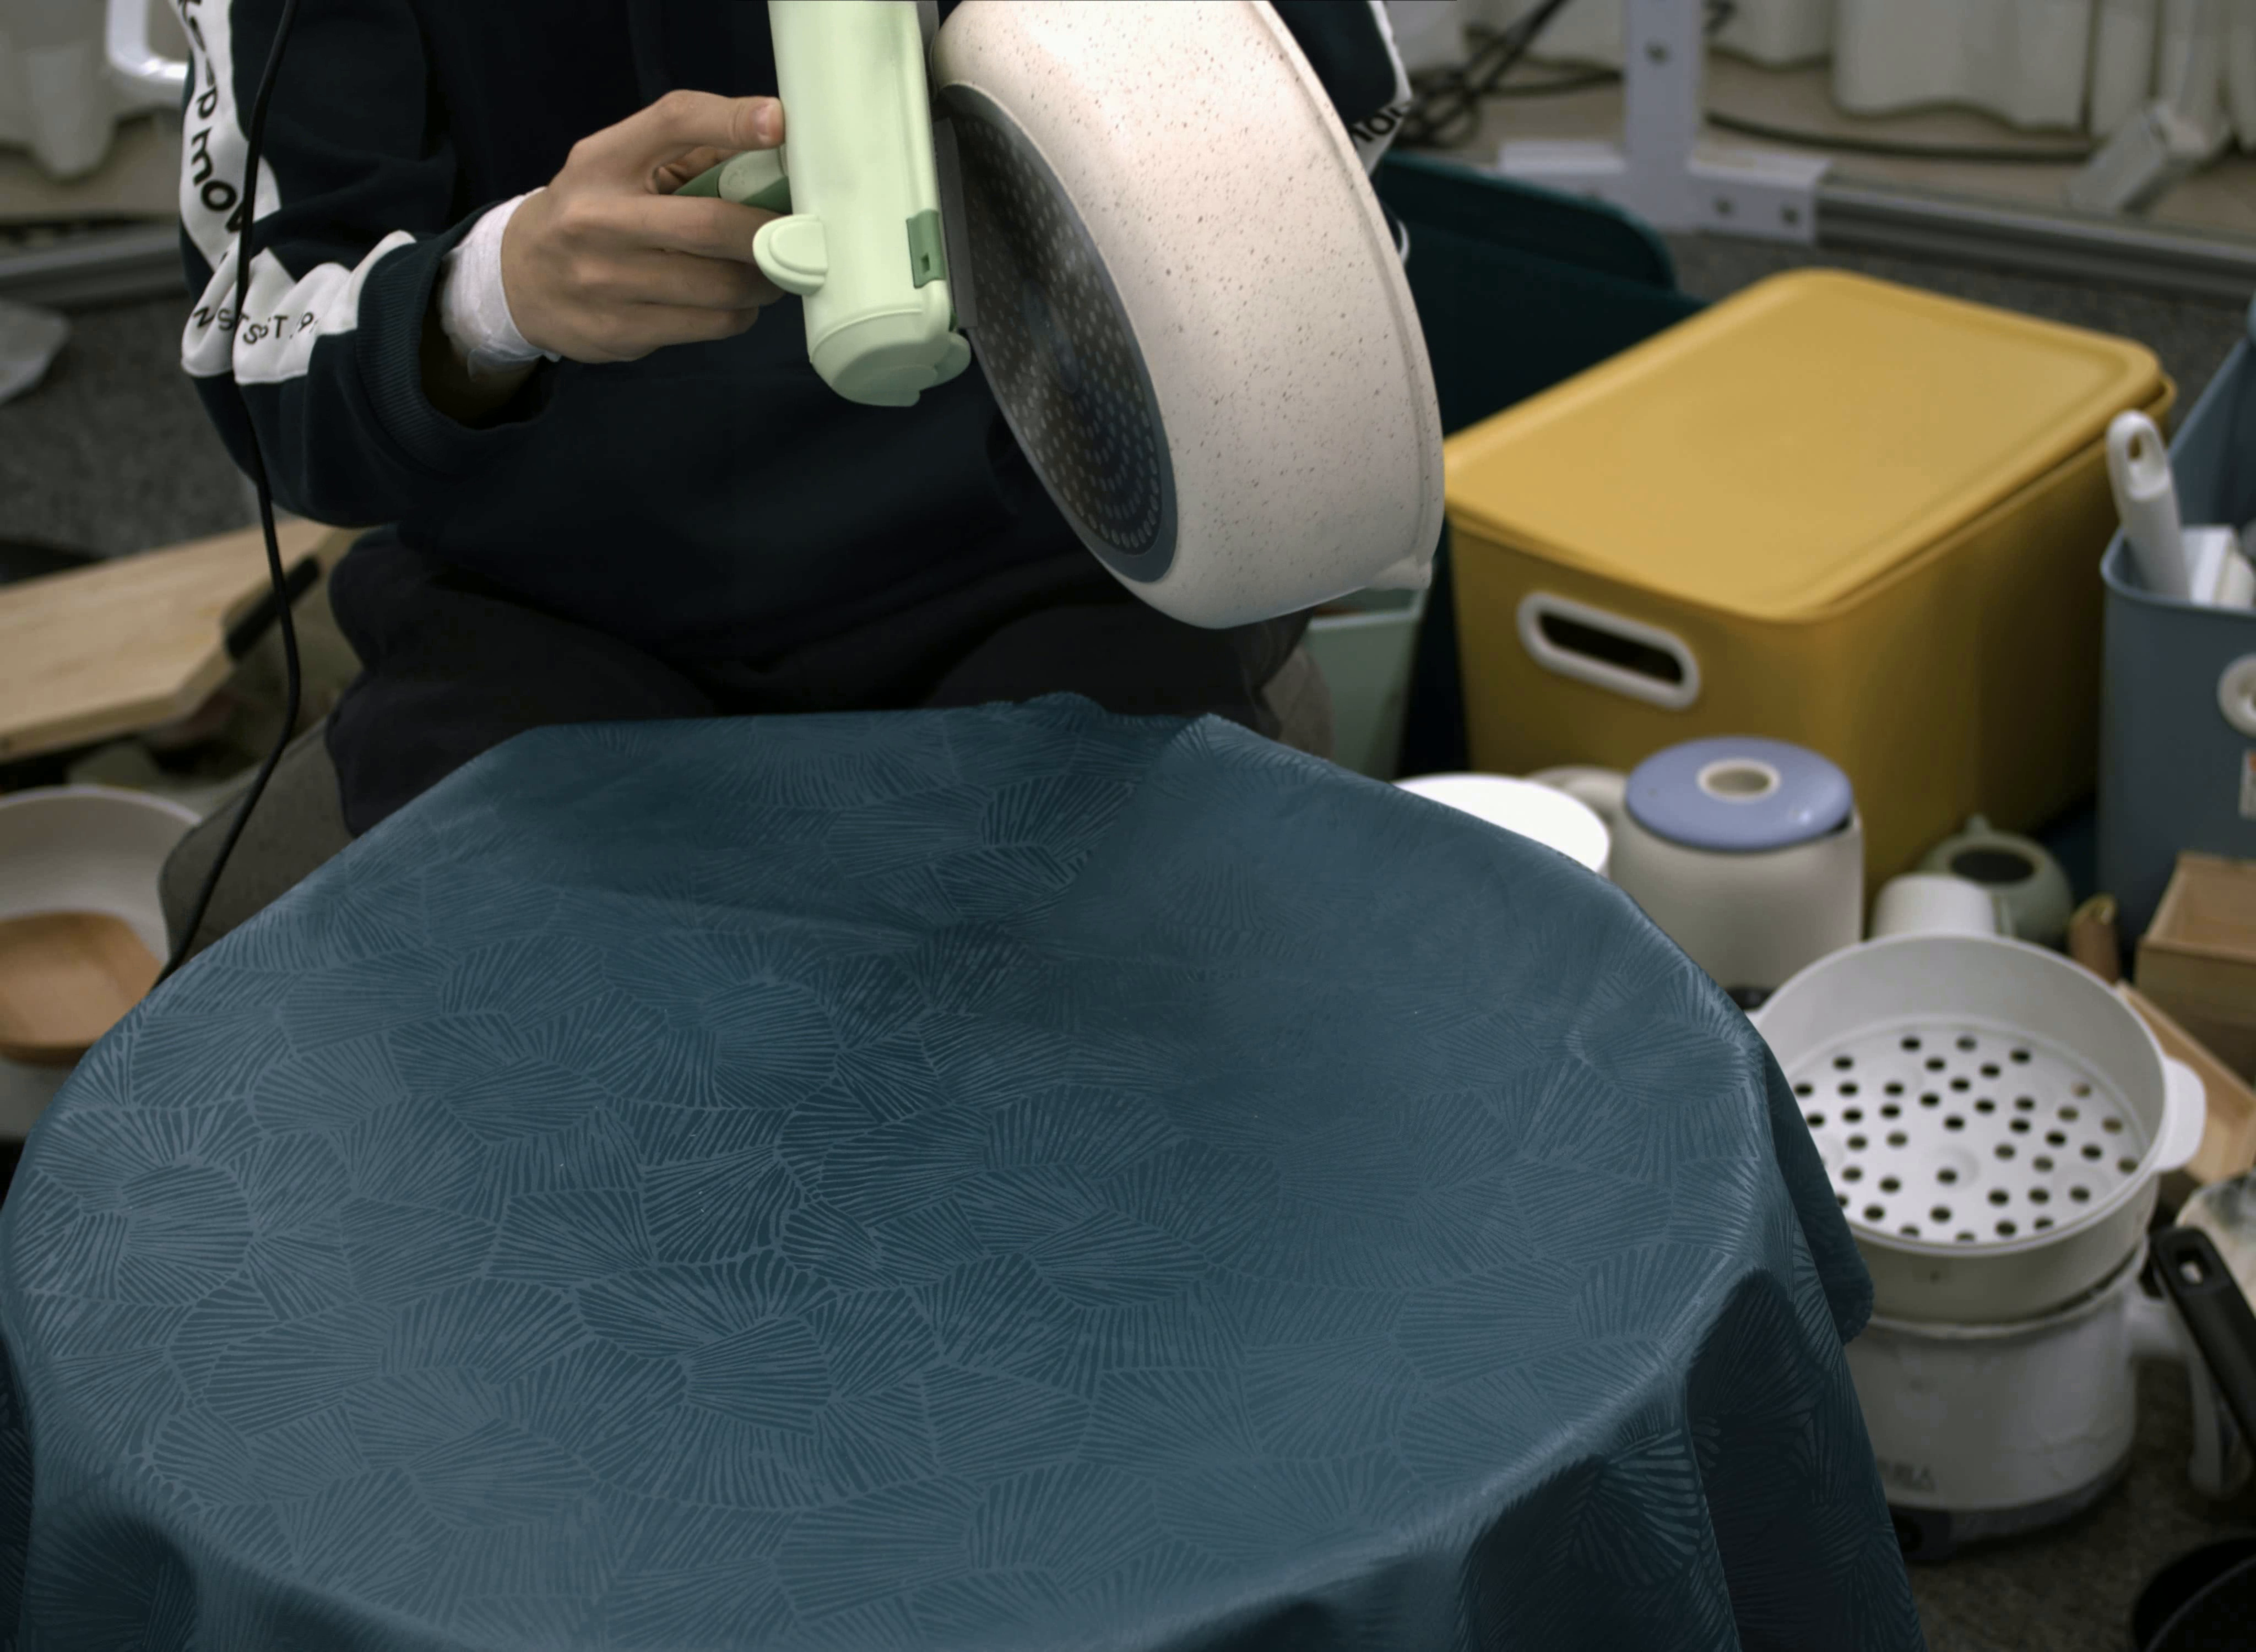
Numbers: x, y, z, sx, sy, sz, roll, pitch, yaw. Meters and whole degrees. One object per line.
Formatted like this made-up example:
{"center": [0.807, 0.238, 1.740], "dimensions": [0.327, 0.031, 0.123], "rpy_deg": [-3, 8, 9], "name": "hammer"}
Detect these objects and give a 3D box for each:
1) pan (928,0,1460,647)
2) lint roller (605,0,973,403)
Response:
{"center": [0.000, -0.160, 1.998], "dimensions": [0.102, 0.264, 0.430], "rpy_deg": [-27, -6, -16], "name": "pan"}
{"center": [-0.135, -0.224, 1.920], "dimensions": [0.180, 0.201, 0.082], "rpy_deg": [-24, -27, 35], "name": "lint roller"}
